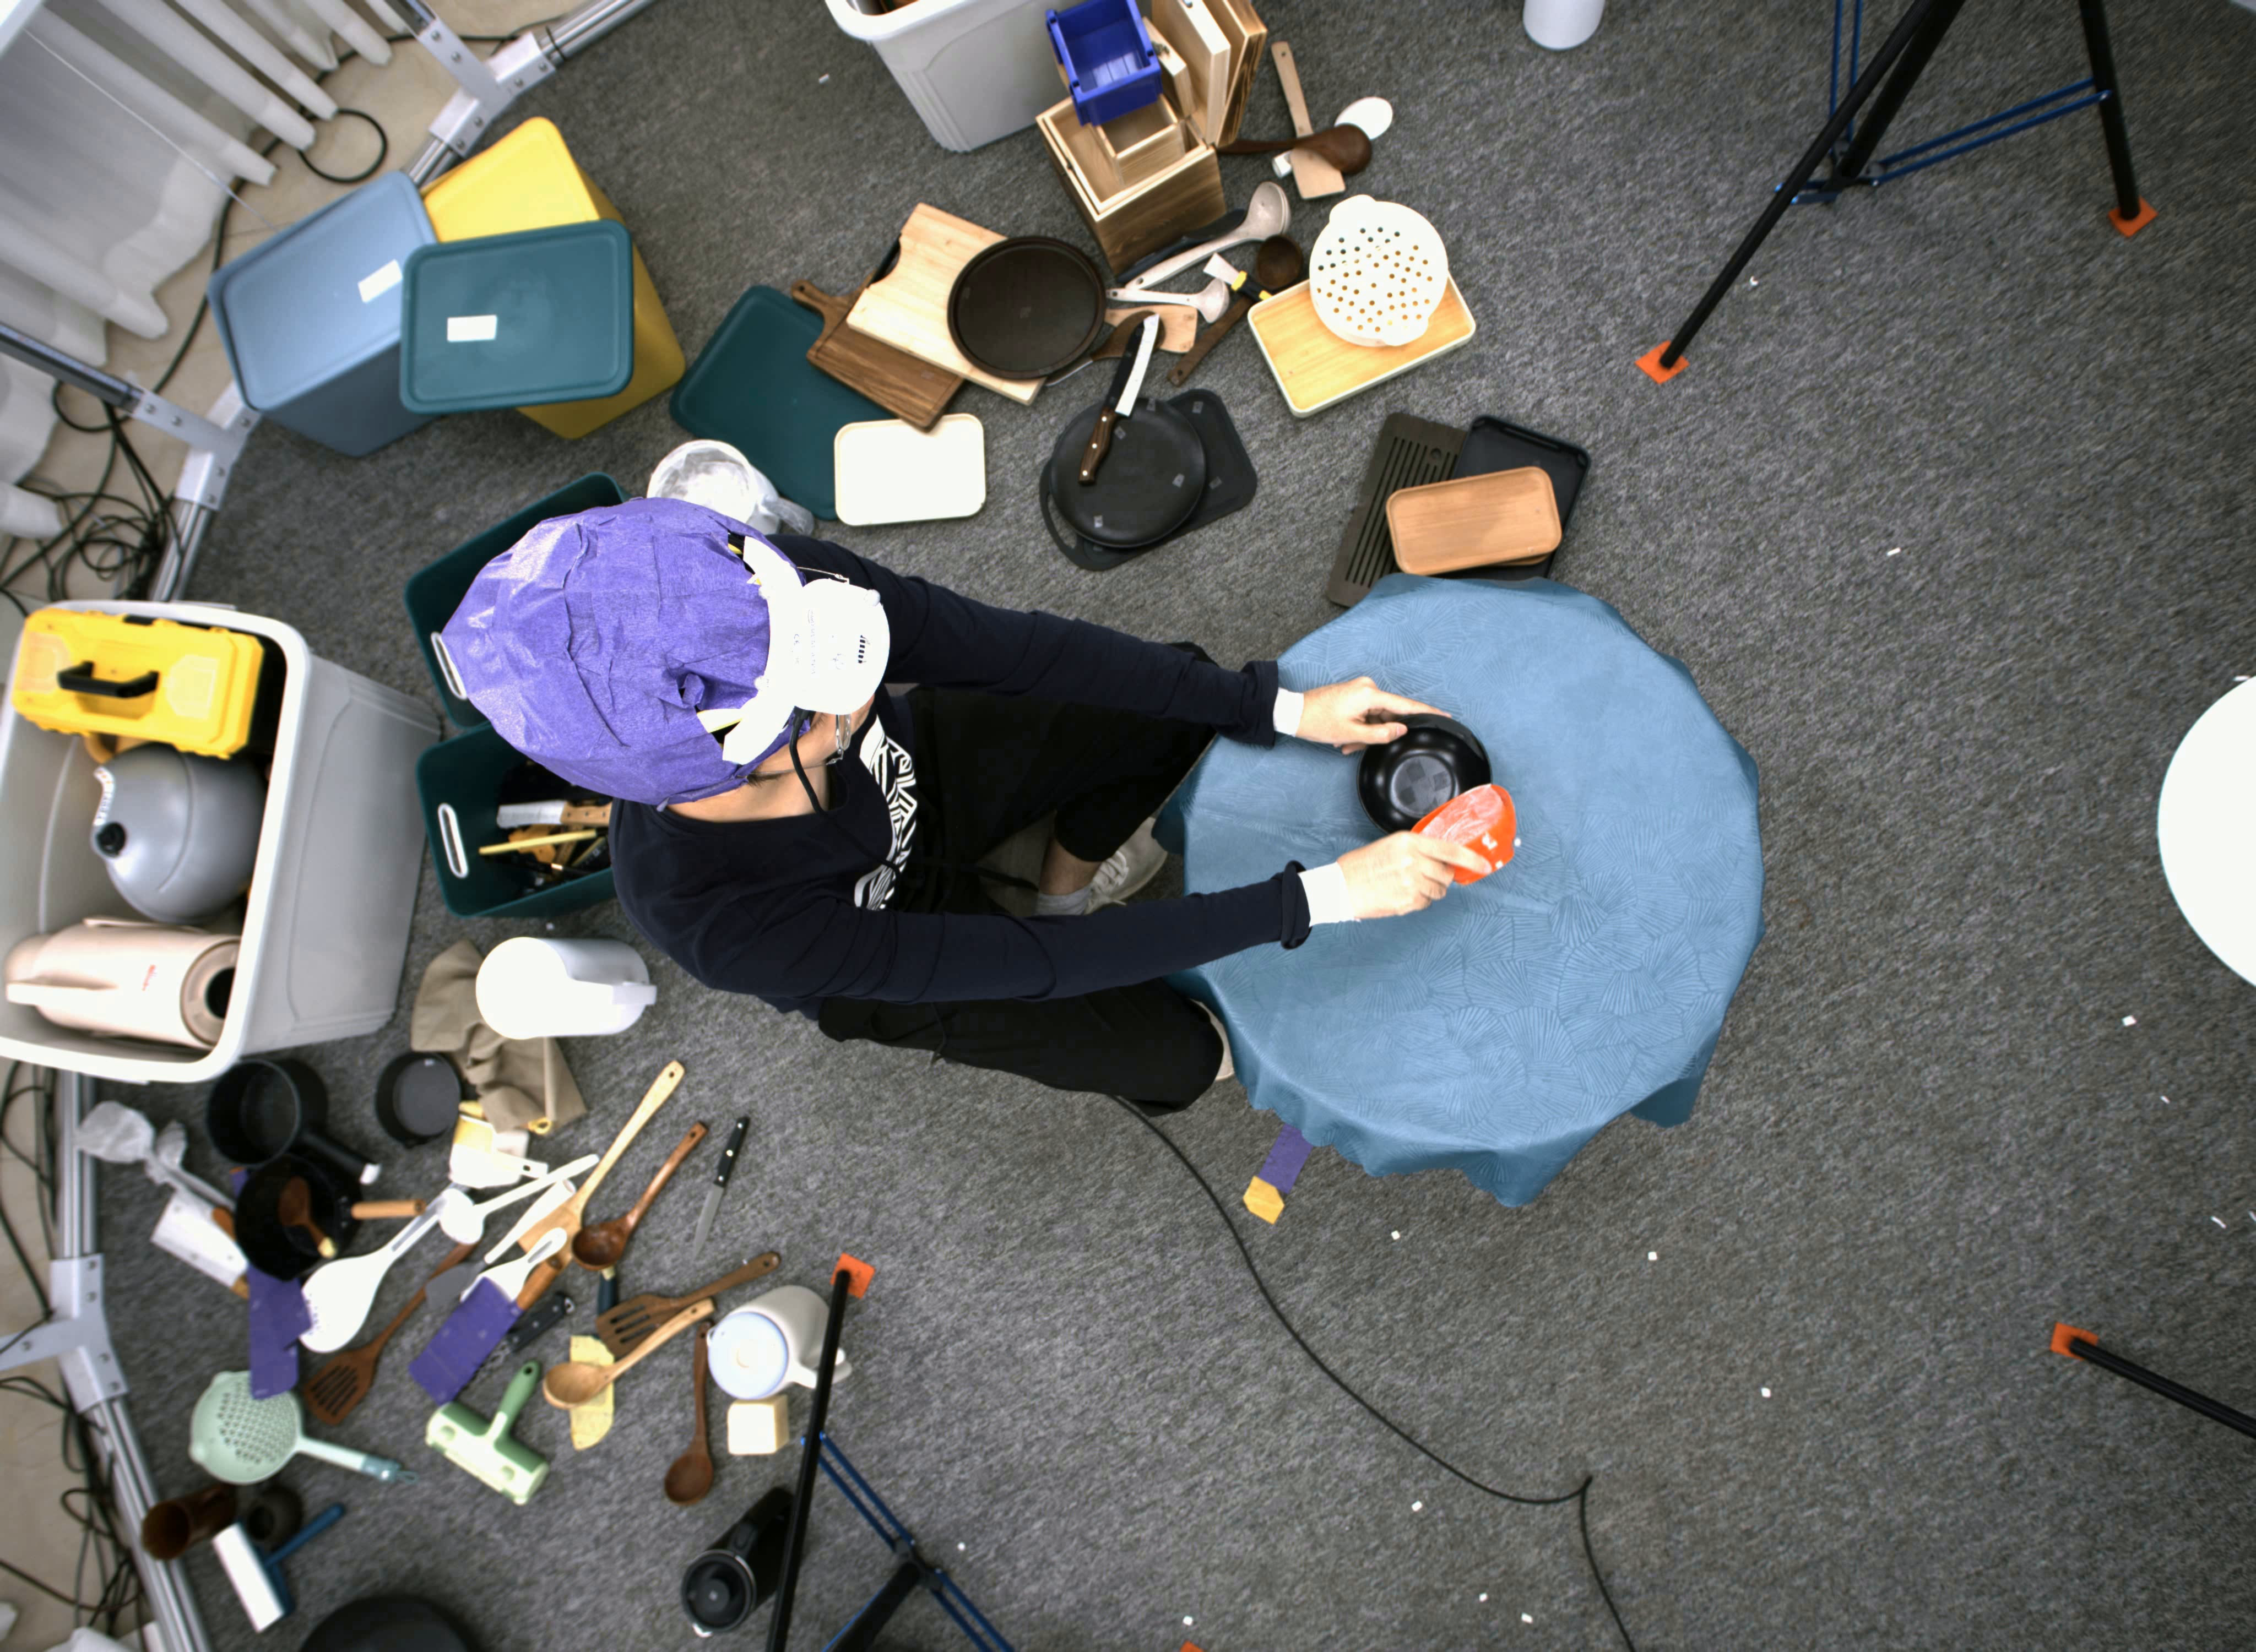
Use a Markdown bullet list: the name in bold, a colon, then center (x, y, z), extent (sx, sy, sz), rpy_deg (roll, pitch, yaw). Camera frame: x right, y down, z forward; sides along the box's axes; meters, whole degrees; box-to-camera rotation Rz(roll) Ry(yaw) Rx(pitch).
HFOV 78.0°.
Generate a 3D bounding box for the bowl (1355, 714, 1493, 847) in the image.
- **bowl**: center (0.309, -0.046, 1.436), extent (0.141, 0.050, 0.139), rpy_deg (-1, 85, 15)

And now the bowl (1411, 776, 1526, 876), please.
- **bowl**: center (0.334, 0.004, 1.330), extent (0.119, 0.116, 0.052), rpy_deg (-24, 119, 7)
